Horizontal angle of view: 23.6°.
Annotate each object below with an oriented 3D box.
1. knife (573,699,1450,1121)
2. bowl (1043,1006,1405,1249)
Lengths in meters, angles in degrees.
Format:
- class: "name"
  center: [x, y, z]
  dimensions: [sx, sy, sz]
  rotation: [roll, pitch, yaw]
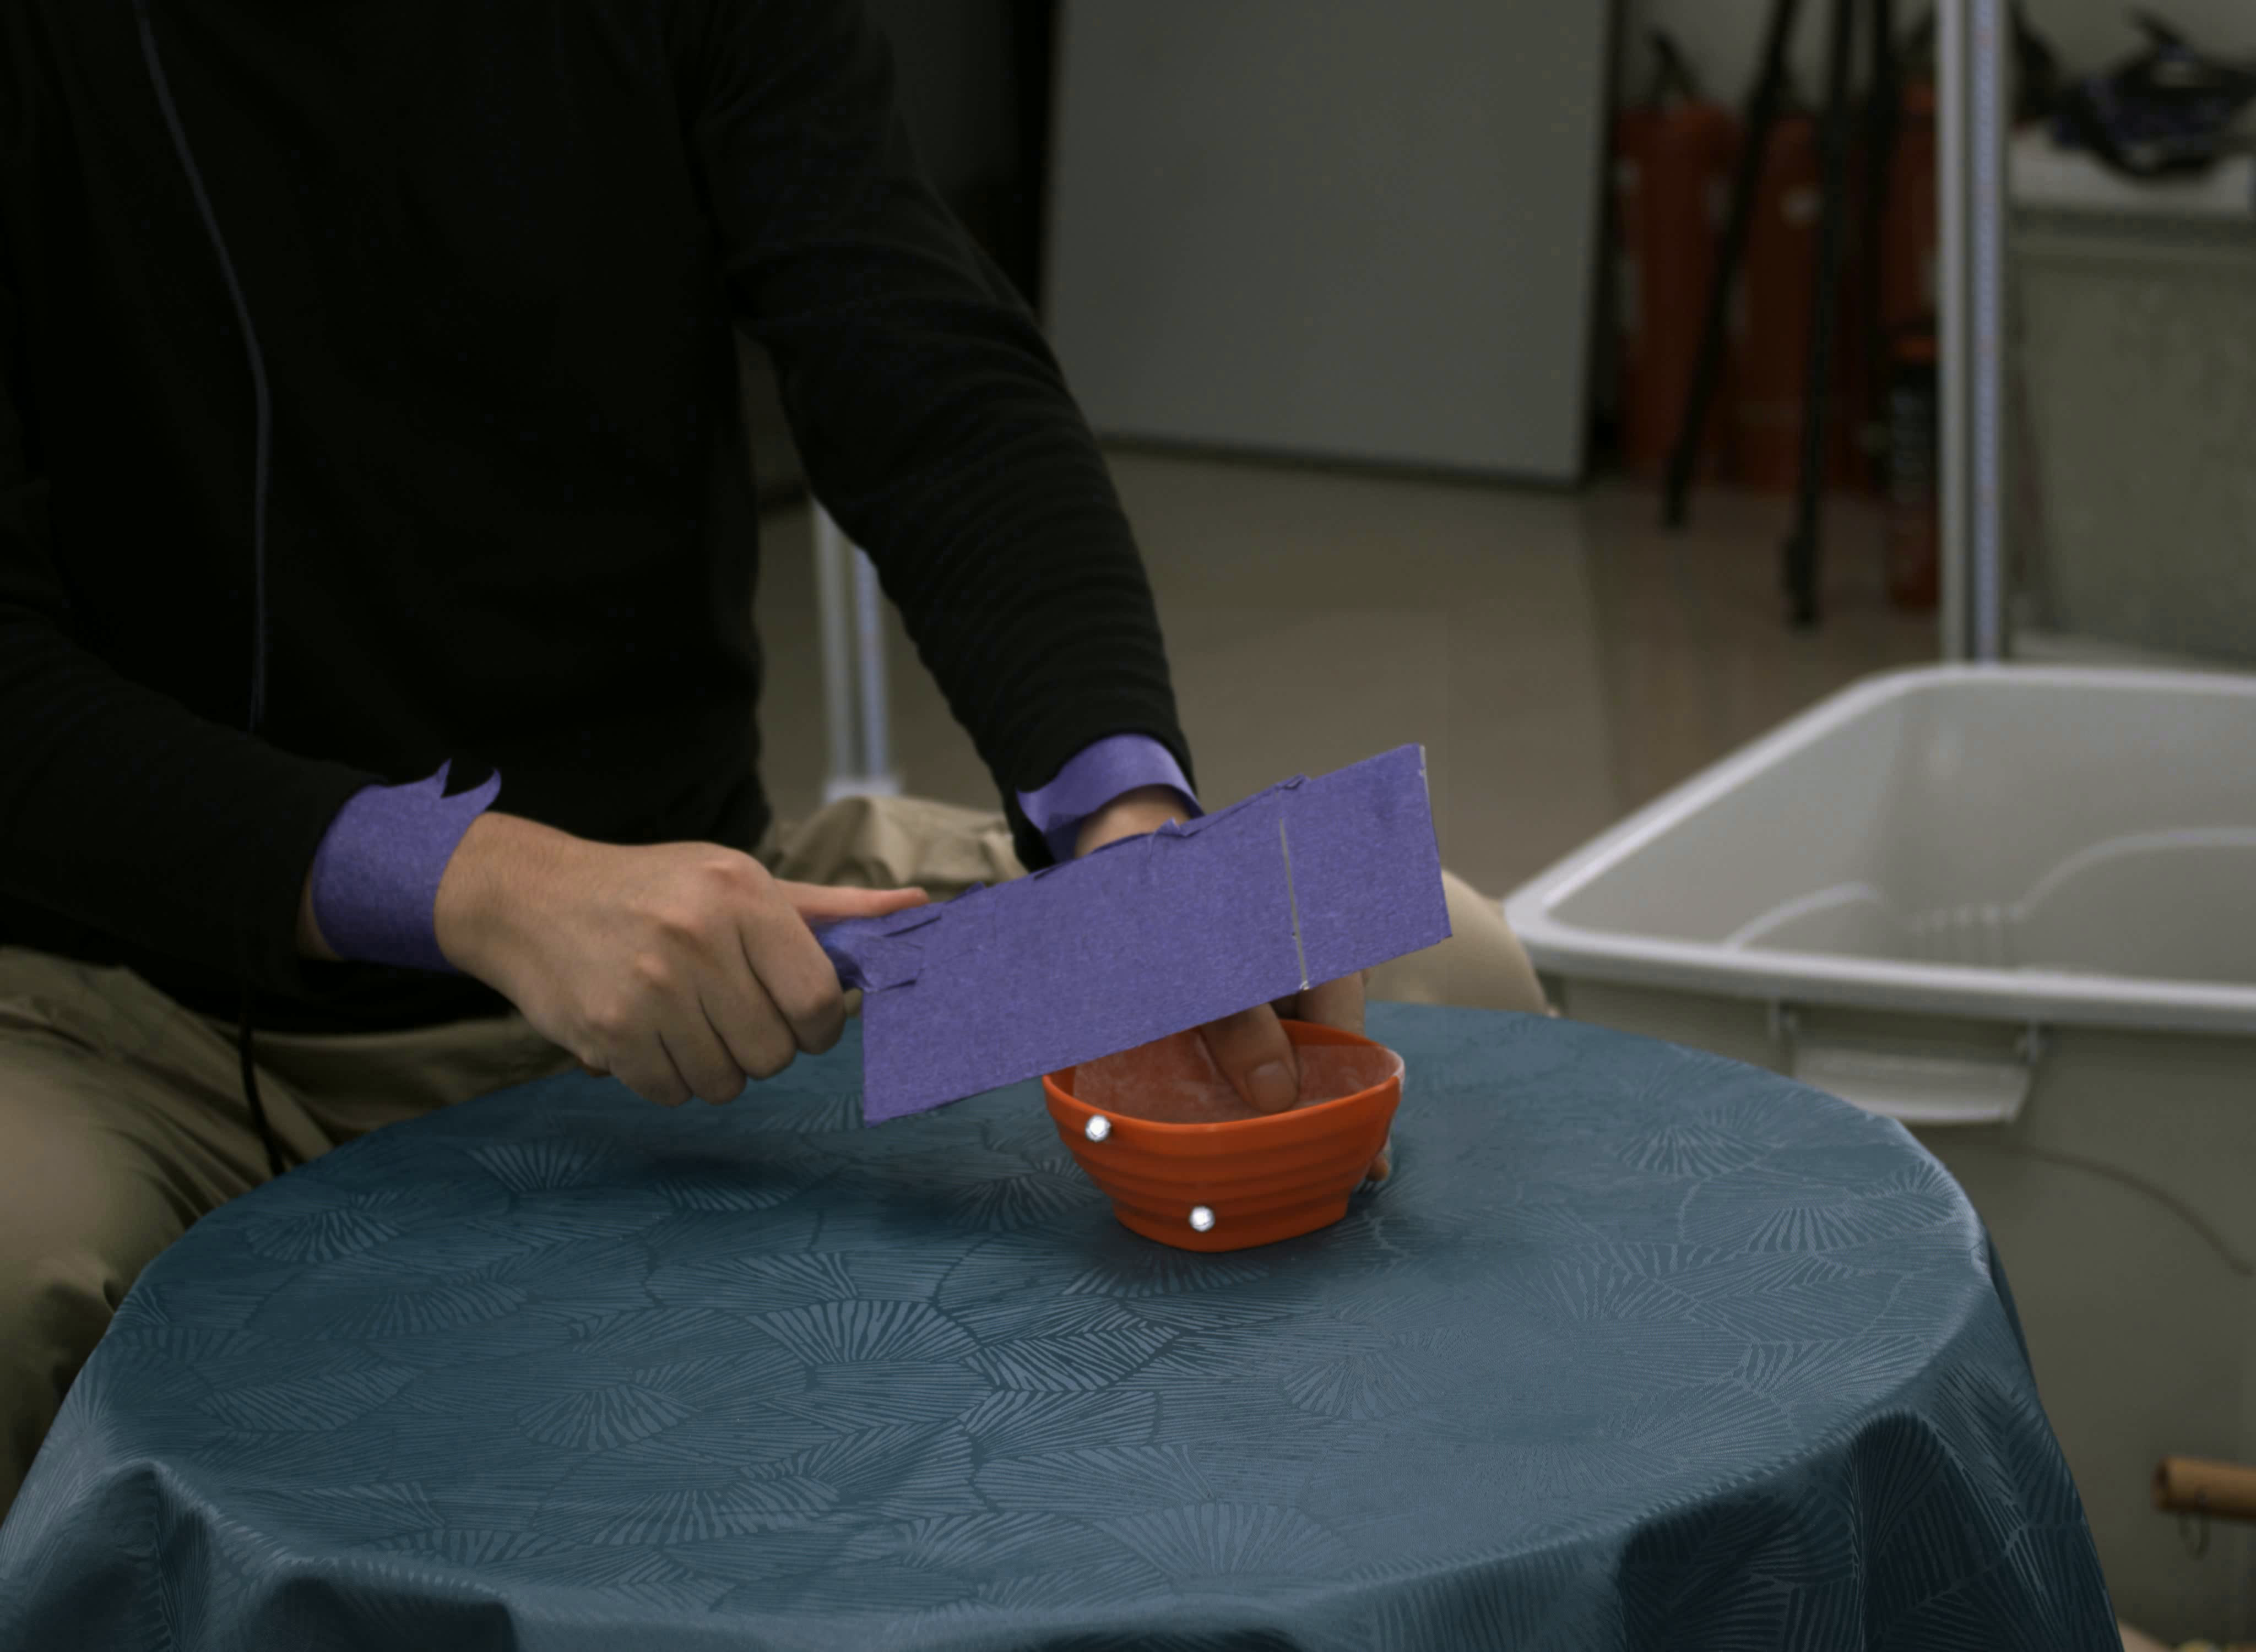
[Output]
- class: "knife"
  center: [-0.042, 0.046, 1.774]
  dimensions: [0.315, 0.032, 0.105]
  rotation: [-22, 42, 17]
- class: "bowl"
  center: [0.032, 0.099, 1.736]
  dimensions: [0.117, 0.052, 0.119]
  rotation: [-4, 15, 0]
